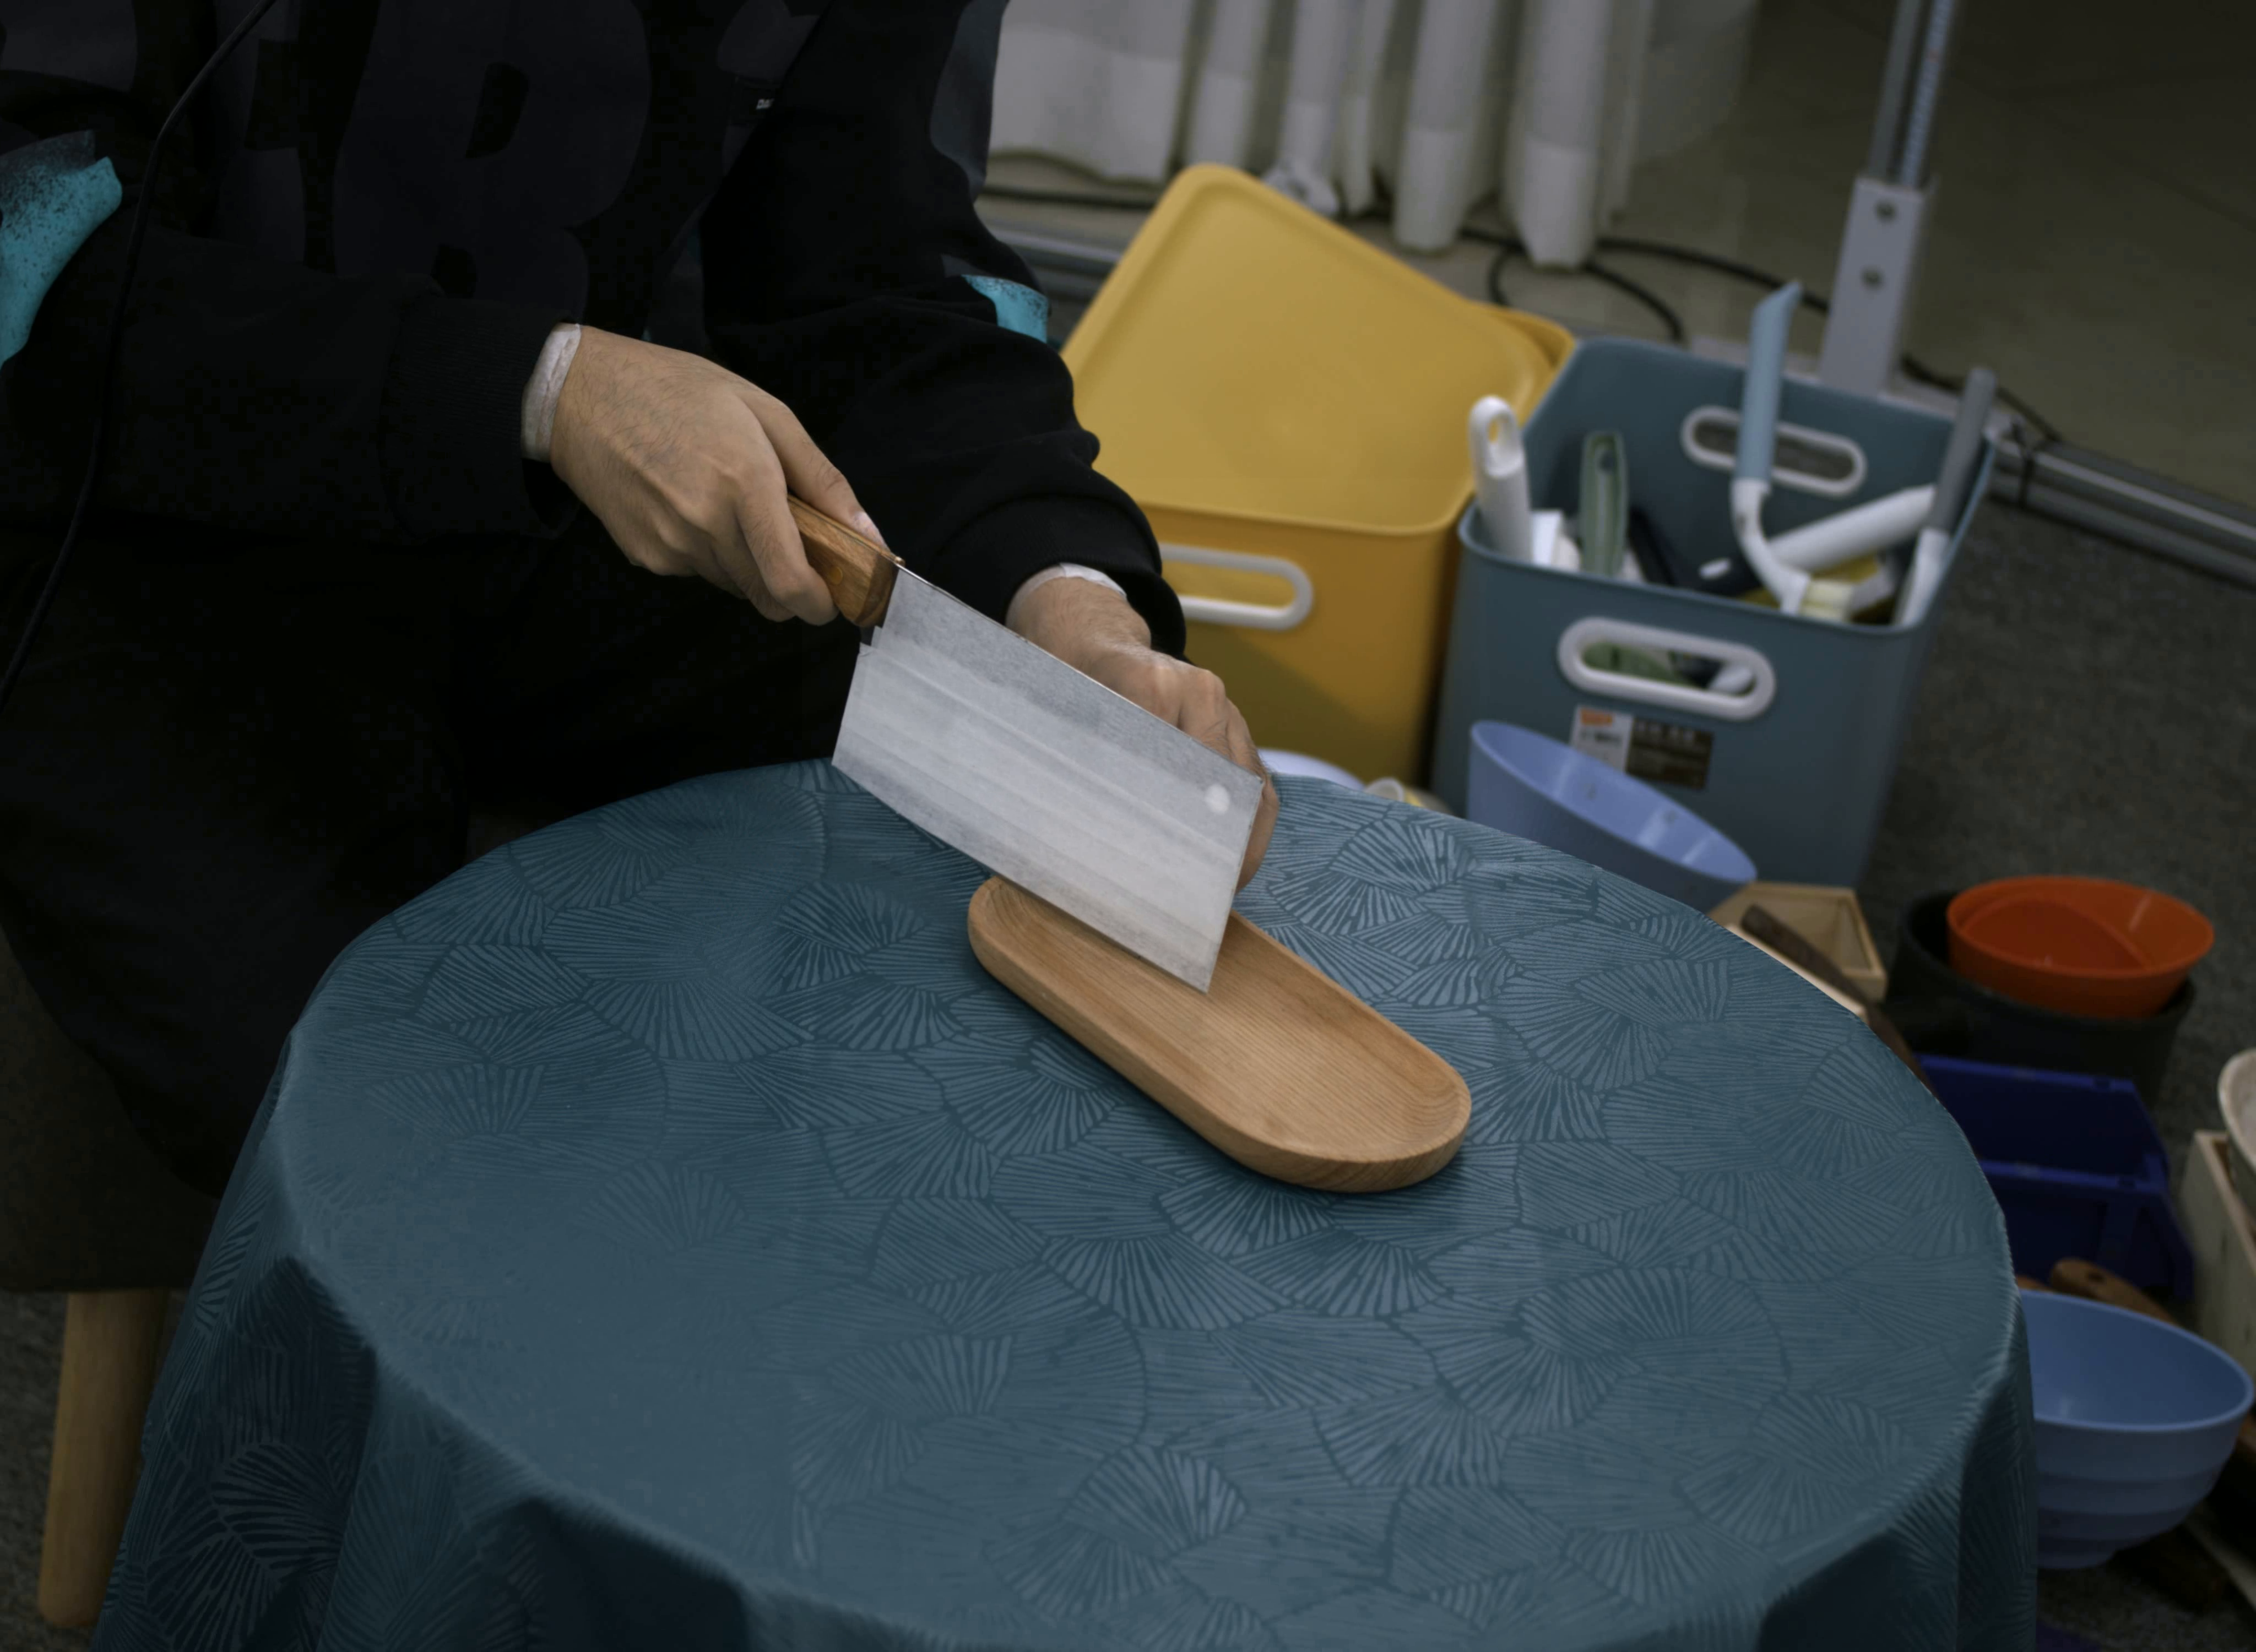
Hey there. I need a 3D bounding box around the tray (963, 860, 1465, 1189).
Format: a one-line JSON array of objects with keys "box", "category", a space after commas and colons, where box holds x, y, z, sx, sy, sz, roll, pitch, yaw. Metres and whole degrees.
[{"box": [0.028, 0.068, 1.899, 0.101, 0.020, 0.233, -12, 31, -35], "category": "tray"}]

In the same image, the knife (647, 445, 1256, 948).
[{"box": [-0.073, -0.046, 1.967, 0.308, 0.093, 0.021, 31, 30, 32], "category": "knife"}]
